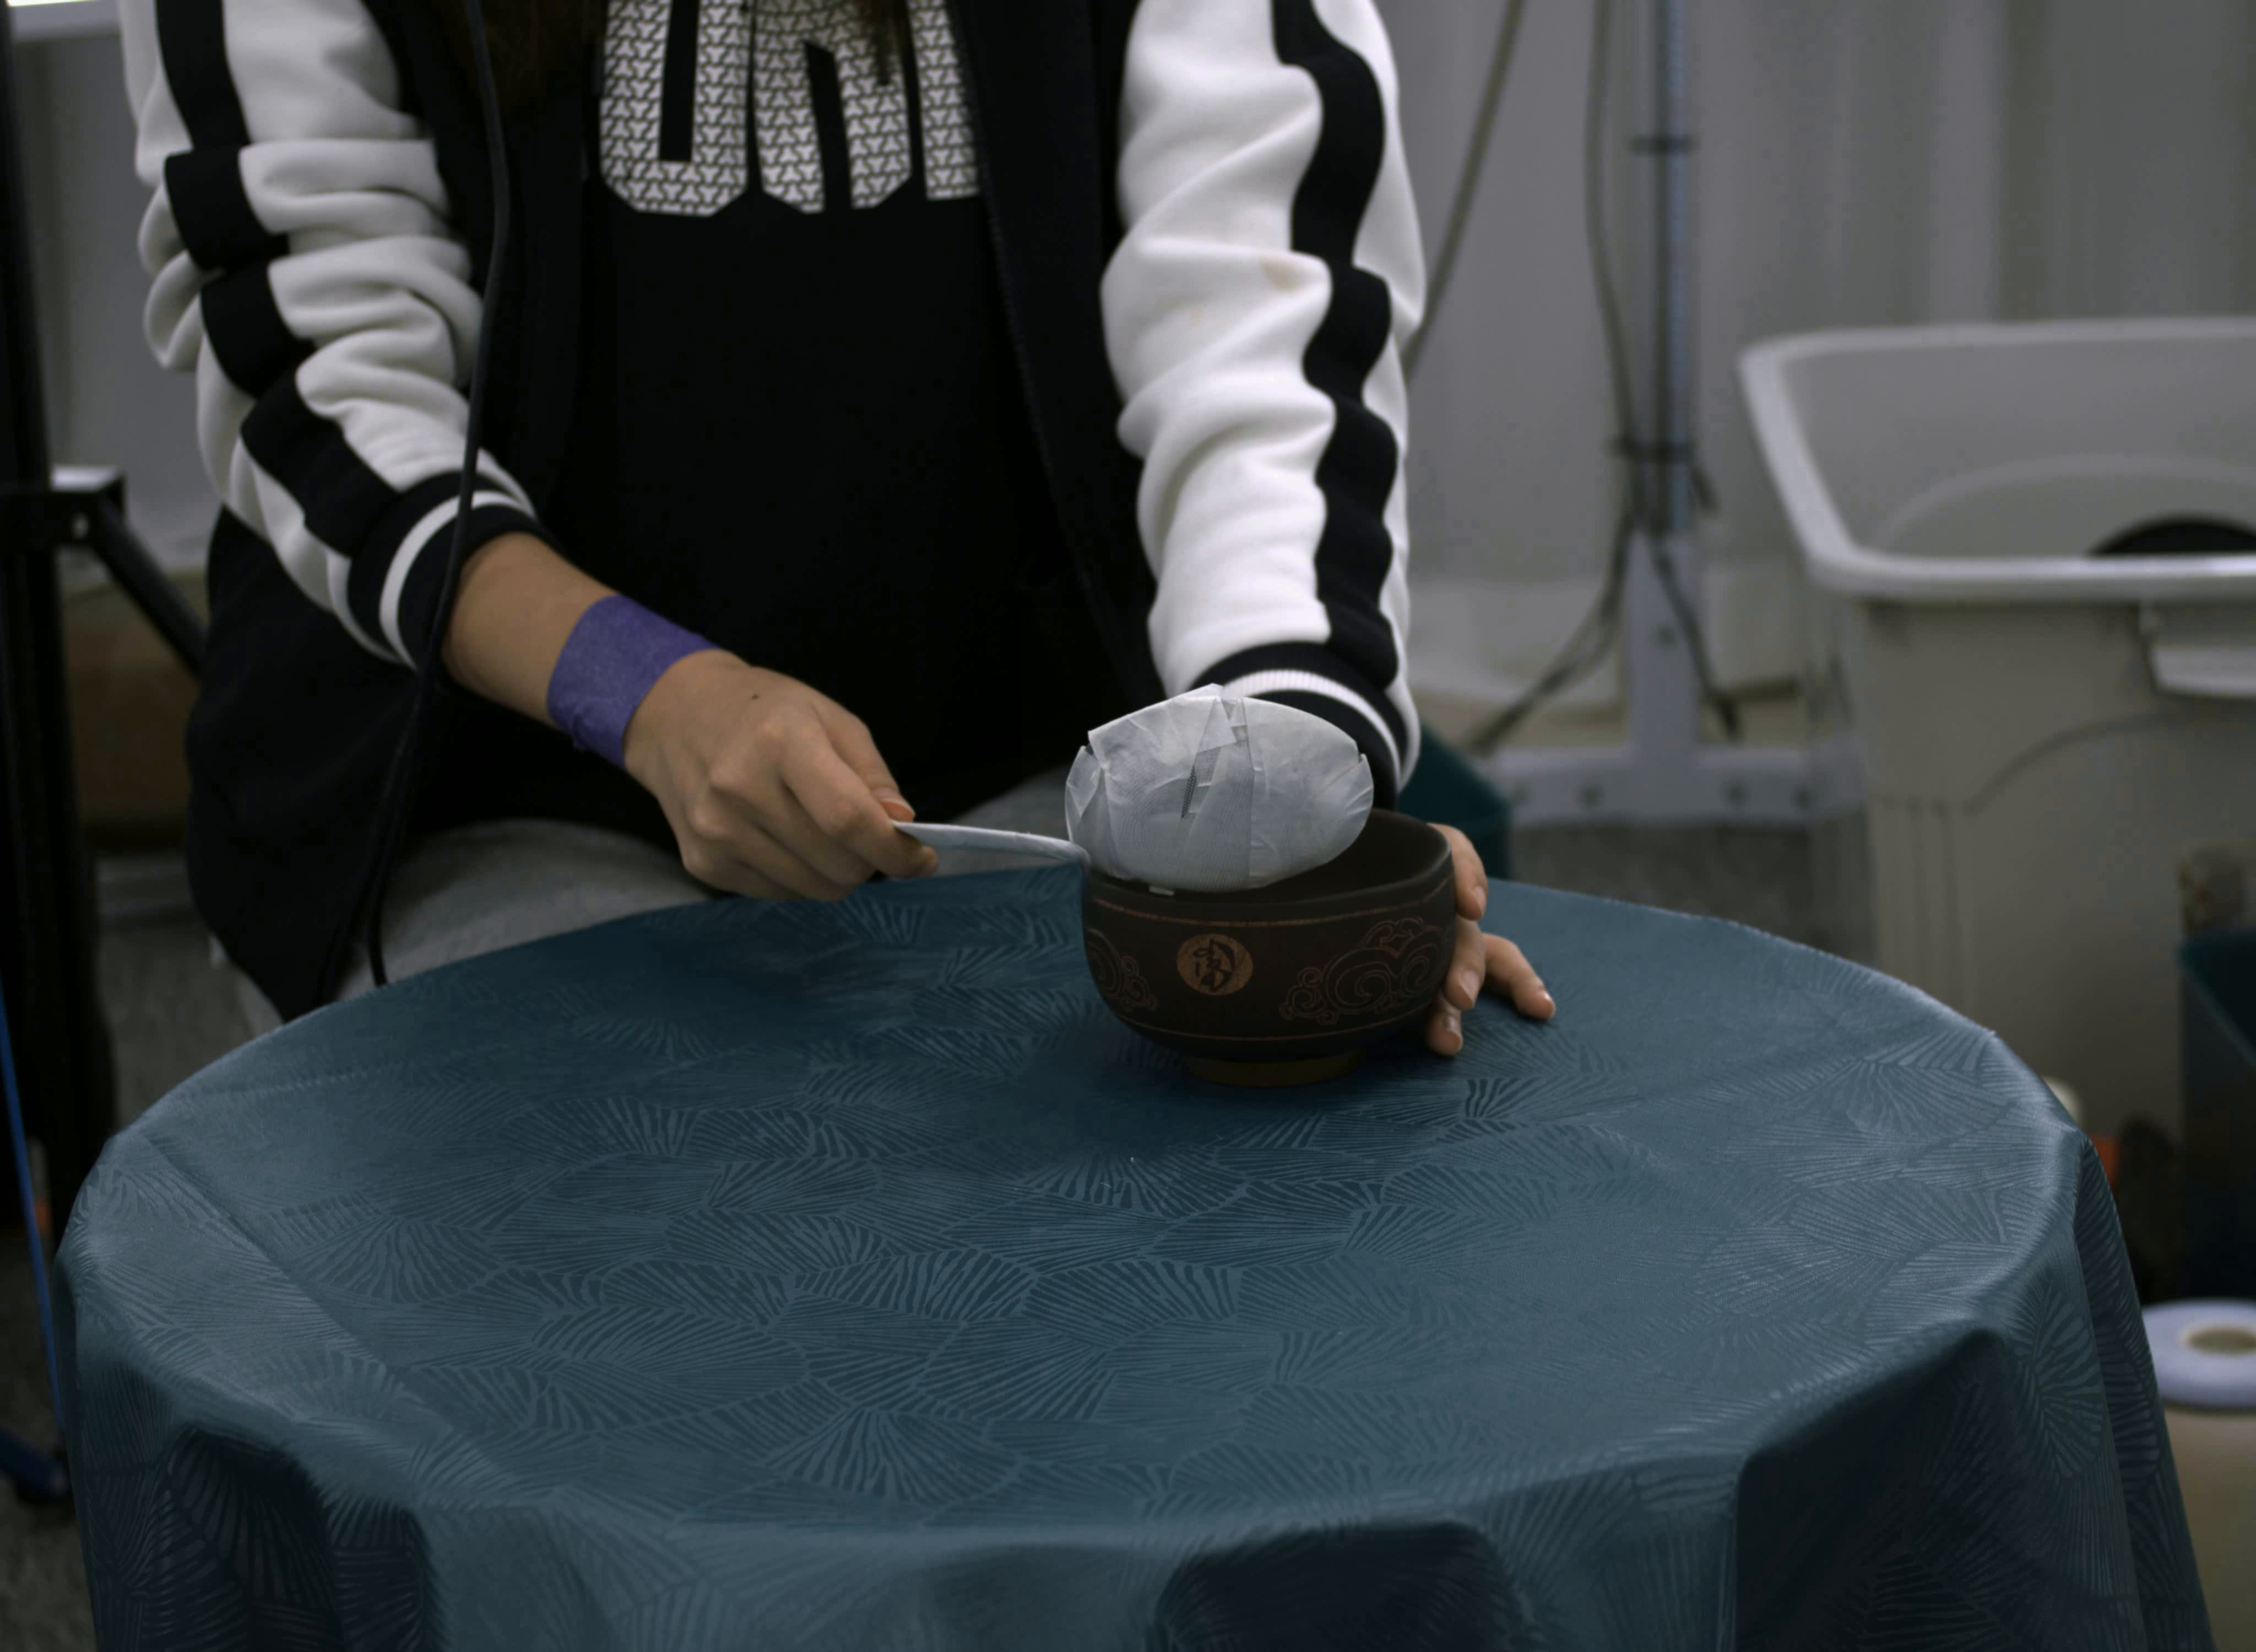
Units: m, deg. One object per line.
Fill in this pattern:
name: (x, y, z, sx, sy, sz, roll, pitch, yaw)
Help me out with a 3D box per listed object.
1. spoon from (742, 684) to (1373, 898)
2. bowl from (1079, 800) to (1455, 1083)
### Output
spoon: (-0.030, -0.011, 1.688, 0.098, 0.059, 0.283, 39, -19, -30)
bowl: (0.044, 0.039, 1.661, 0.117, 0.070, 0.118, -2, 16, -1)
